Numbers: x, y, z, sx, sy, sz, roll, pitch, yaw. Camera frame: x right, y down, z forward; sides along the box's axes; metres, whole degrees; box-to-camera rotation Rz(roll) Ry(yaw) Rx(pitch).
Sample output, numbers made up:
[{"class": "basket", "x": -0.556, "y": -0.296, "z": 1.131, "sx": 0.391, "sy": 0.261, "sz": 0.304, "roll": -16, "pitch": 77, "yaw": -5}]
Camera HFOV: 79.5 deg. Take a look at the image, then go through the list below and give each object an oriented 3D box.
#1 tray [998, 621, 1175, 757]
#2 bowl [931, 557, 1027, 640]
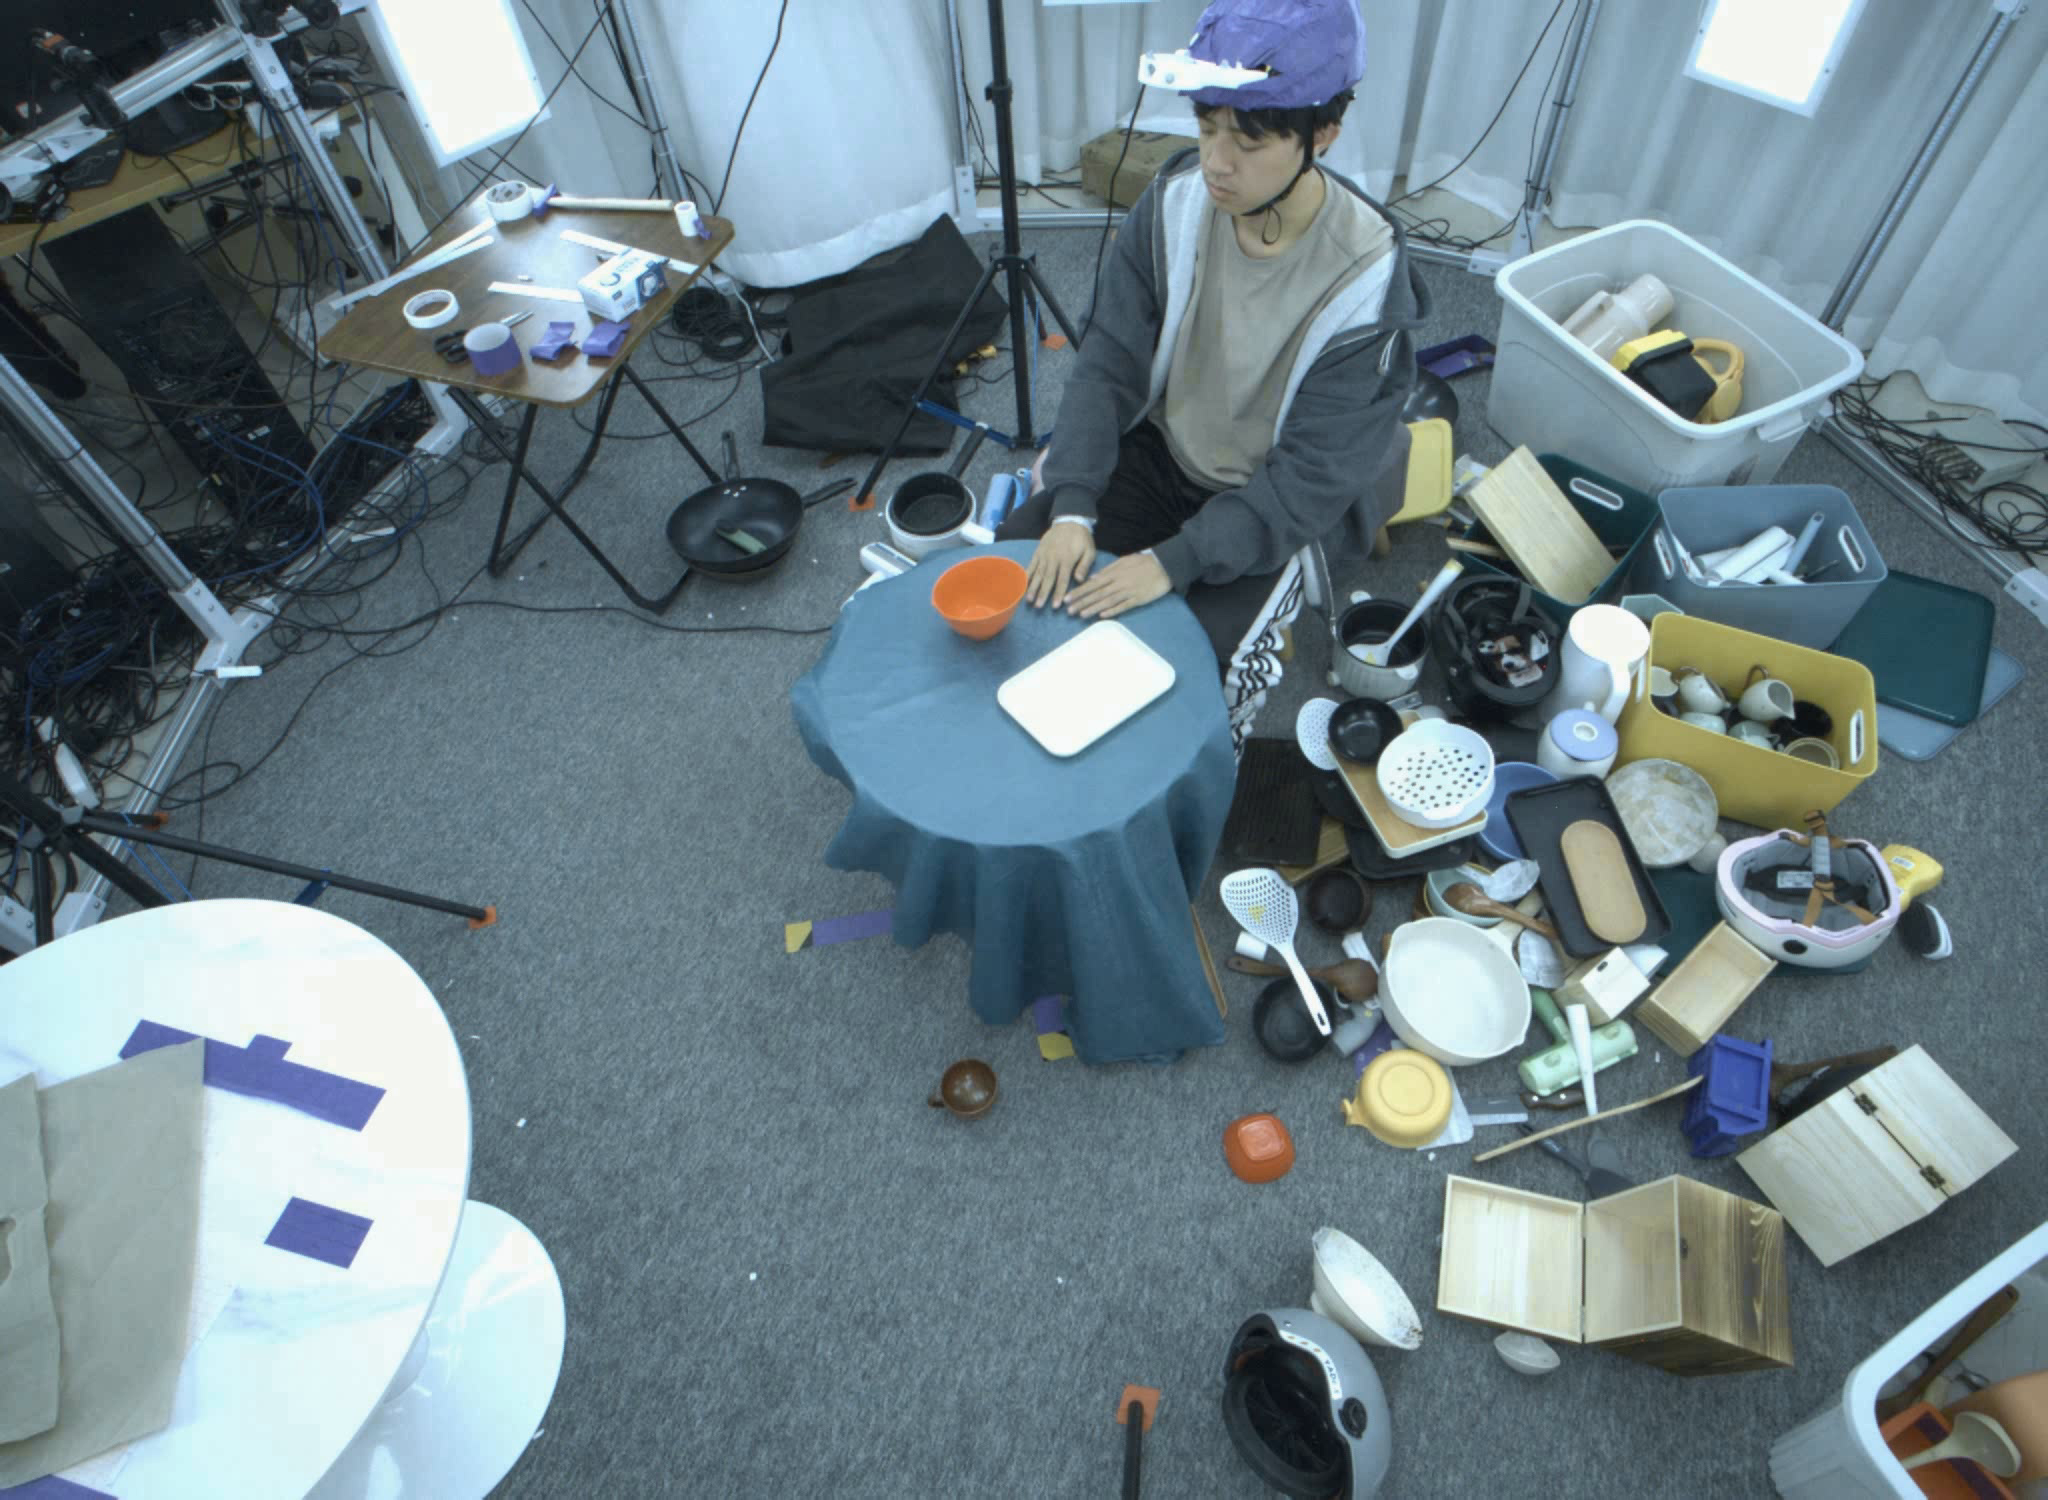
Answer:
[{"class": "tray", "x": 0.094, "y": -0.093, "z": 1.842, "sx": 0.241, "sy": 0.017, "sz": 0.168, "roll": -35, "pitch": 60, "yaw": -21}, {"class": "bowl", "x": -0.066, "y": -0.220, "z": 1.887, "sx": 0.148, "sy": 0.106, "sz": 0.146, "roll": -1, "pitch": 56, "yaw": 3}]
